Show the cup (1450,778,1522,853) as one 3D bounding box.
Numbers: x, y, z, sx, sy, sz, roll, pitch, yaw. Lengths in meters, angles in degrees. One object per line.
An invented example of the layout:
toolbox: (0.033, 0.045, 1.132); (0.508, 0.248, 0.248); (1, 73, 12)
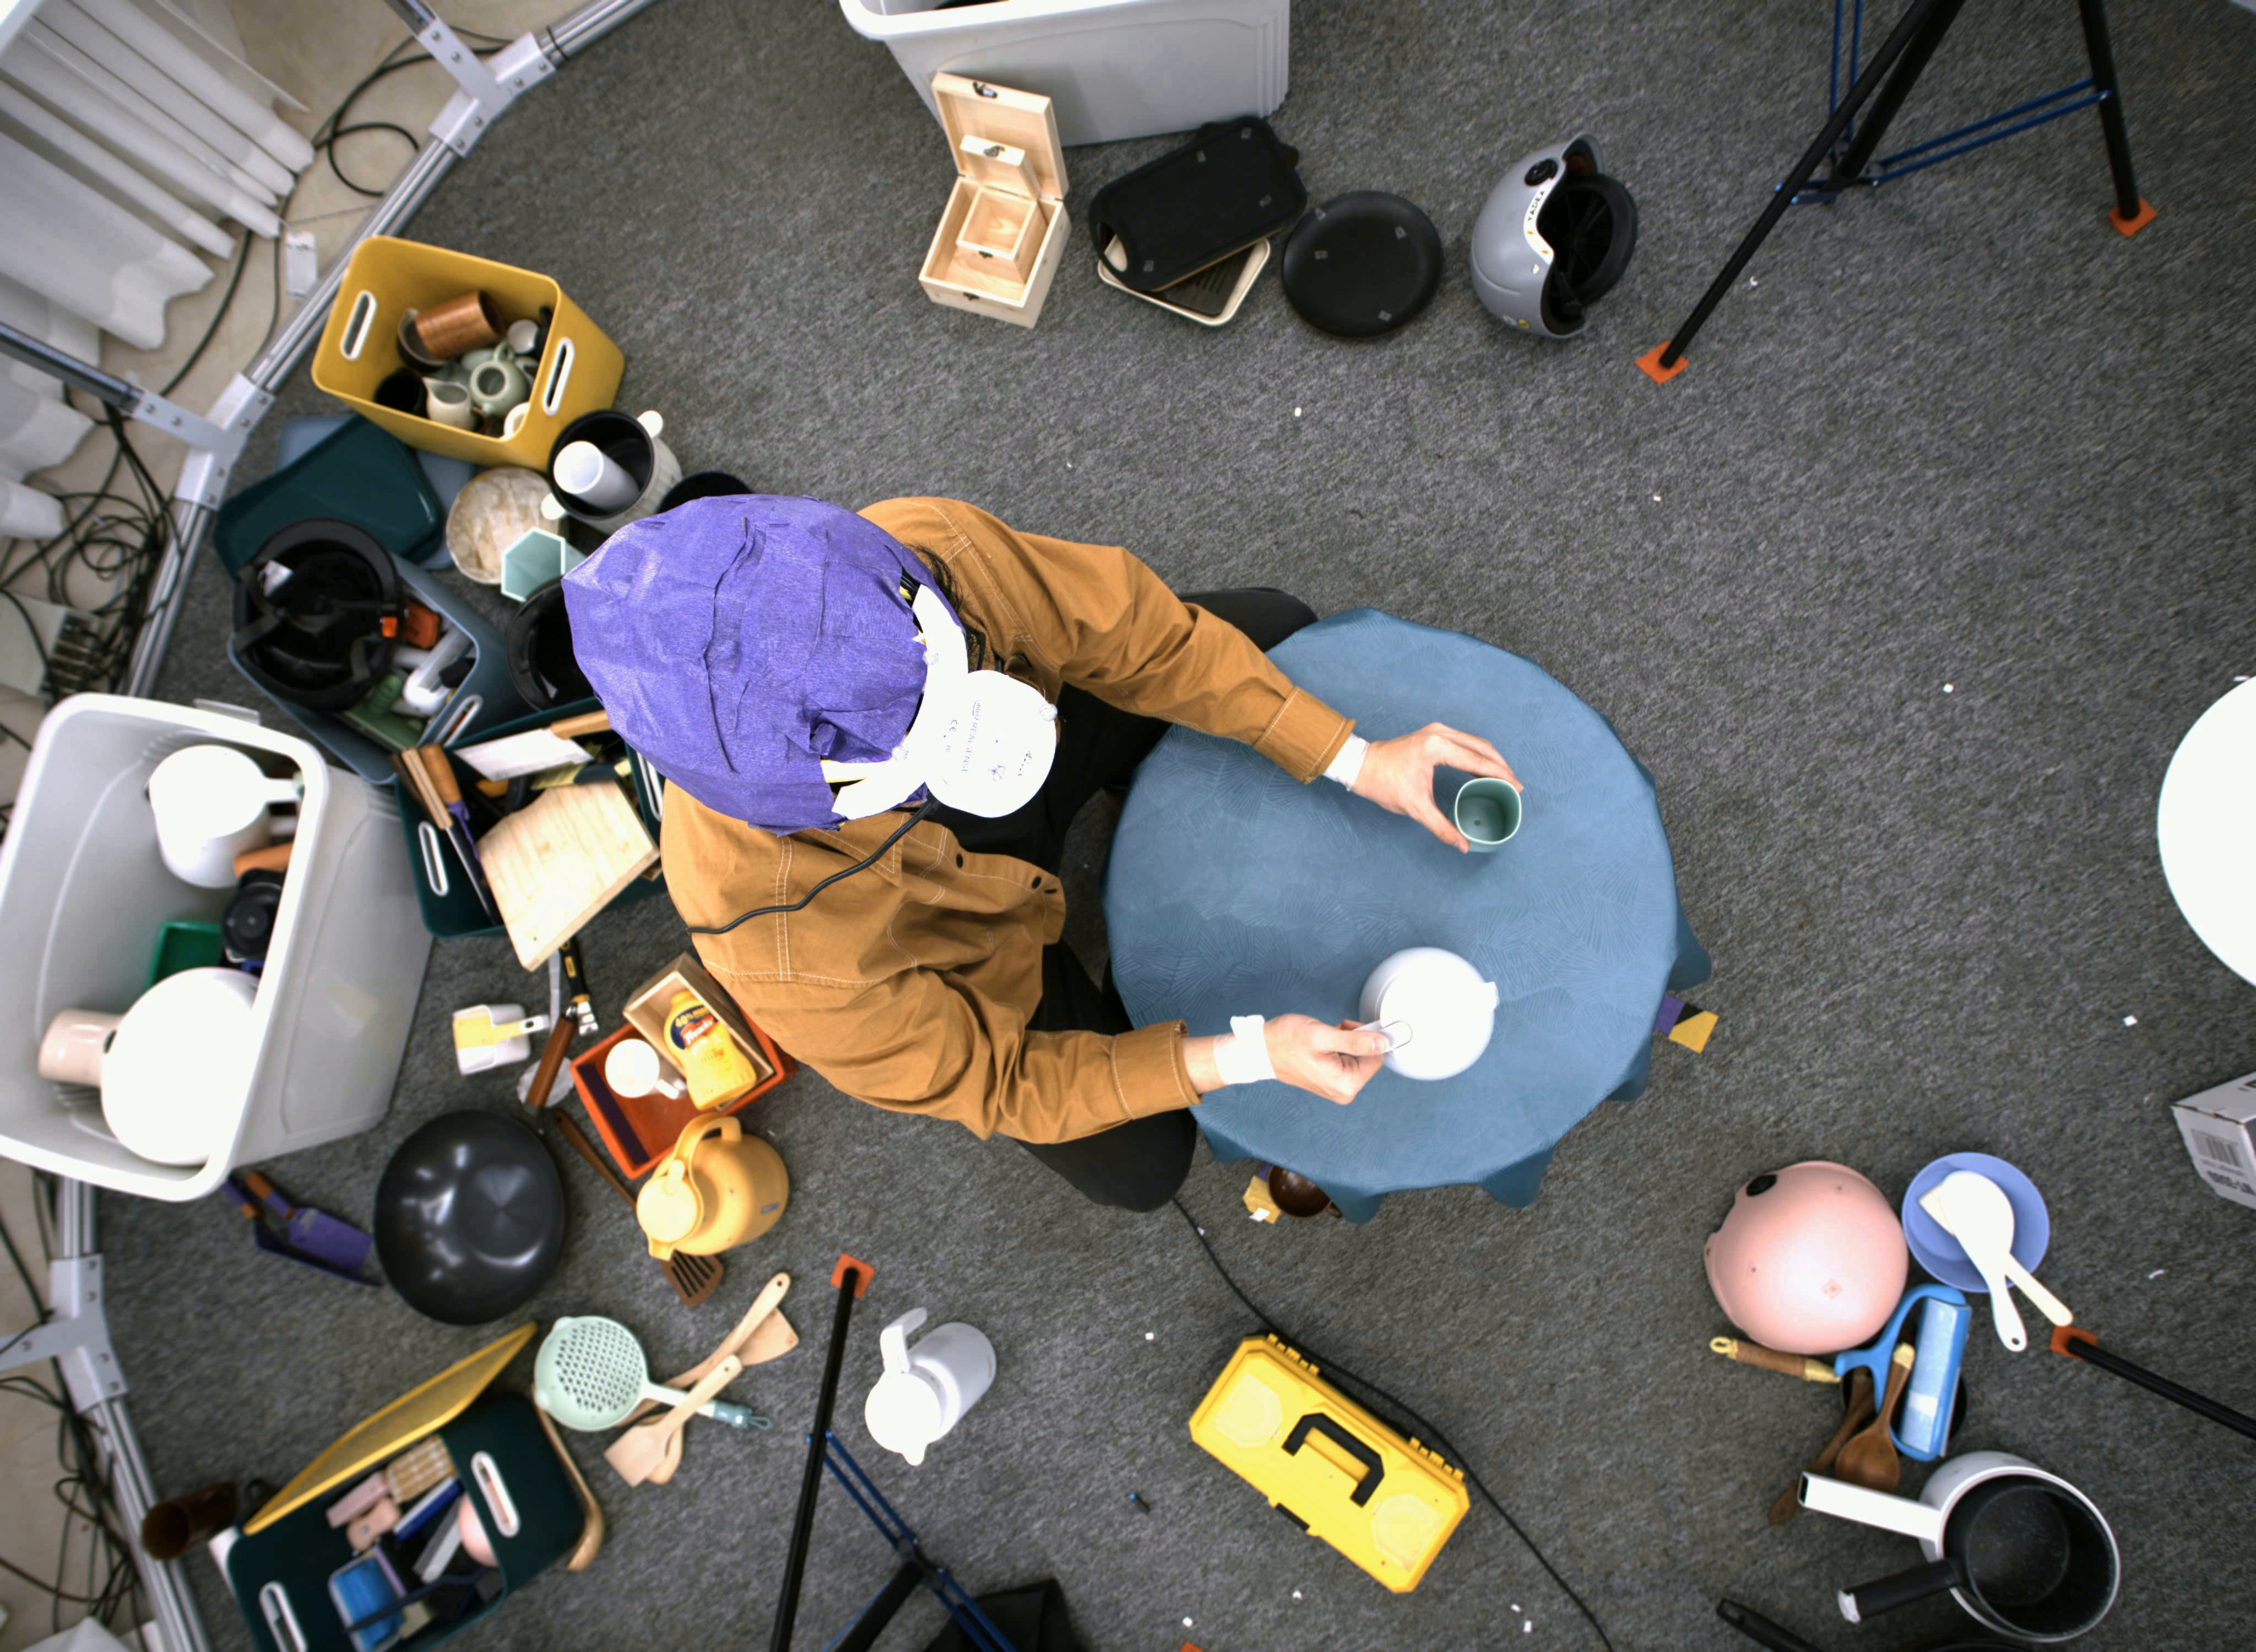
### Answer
cup: (0.357, -0.011, 1.385); (0.067, 0.132, 0.066); (-1, 85, 10)

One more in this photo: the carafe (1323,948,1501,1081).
carafe: (0.270, 0.188, 1.330); (0.169, 0.249, 0.131); (-23, 82, 8)
